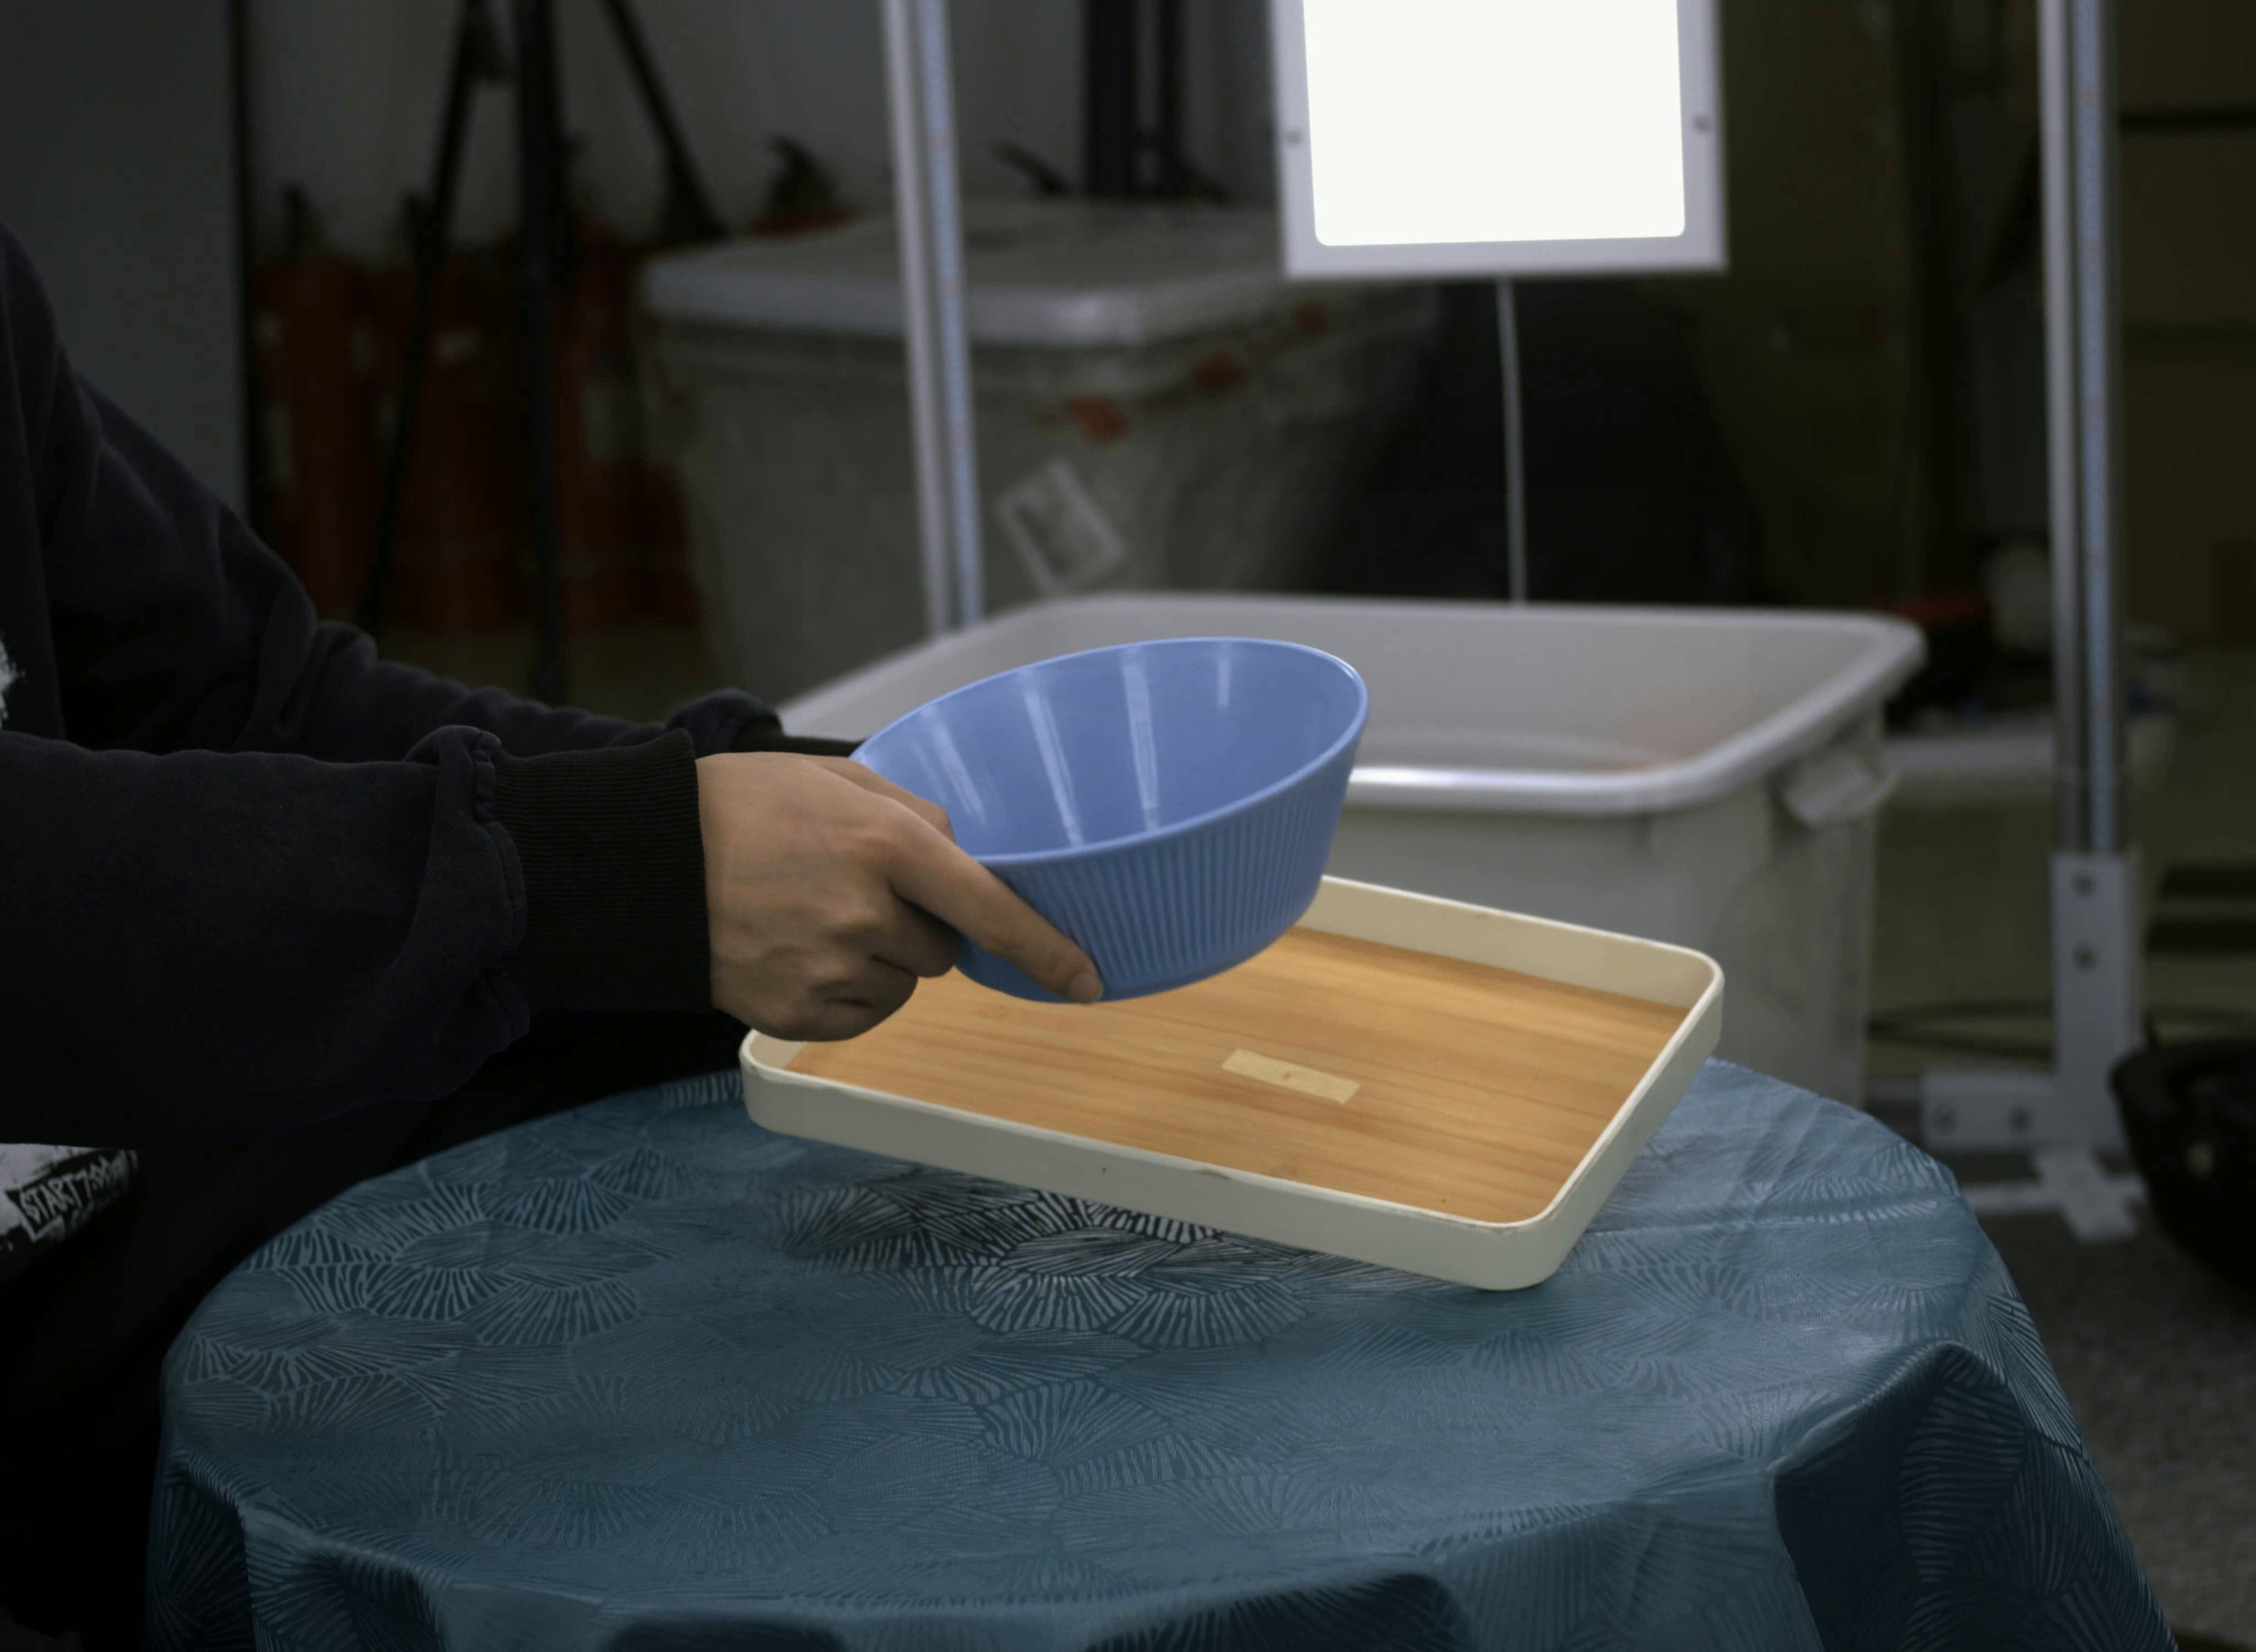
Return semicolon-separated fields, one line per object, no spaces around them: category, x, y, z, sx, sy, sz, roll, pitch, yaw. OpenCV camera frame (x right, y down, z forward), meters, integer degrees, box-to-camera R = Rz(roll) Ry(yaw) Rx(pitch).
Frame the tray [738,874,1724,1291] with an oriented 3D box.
tray;0.036;0.073;1.885;0.305;0.027;0.188;11;32;25

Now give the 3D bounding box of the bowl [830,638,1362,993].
bowl;-0.004;0.001;1.770;0.176;0.070;0.176;-12;19;3
